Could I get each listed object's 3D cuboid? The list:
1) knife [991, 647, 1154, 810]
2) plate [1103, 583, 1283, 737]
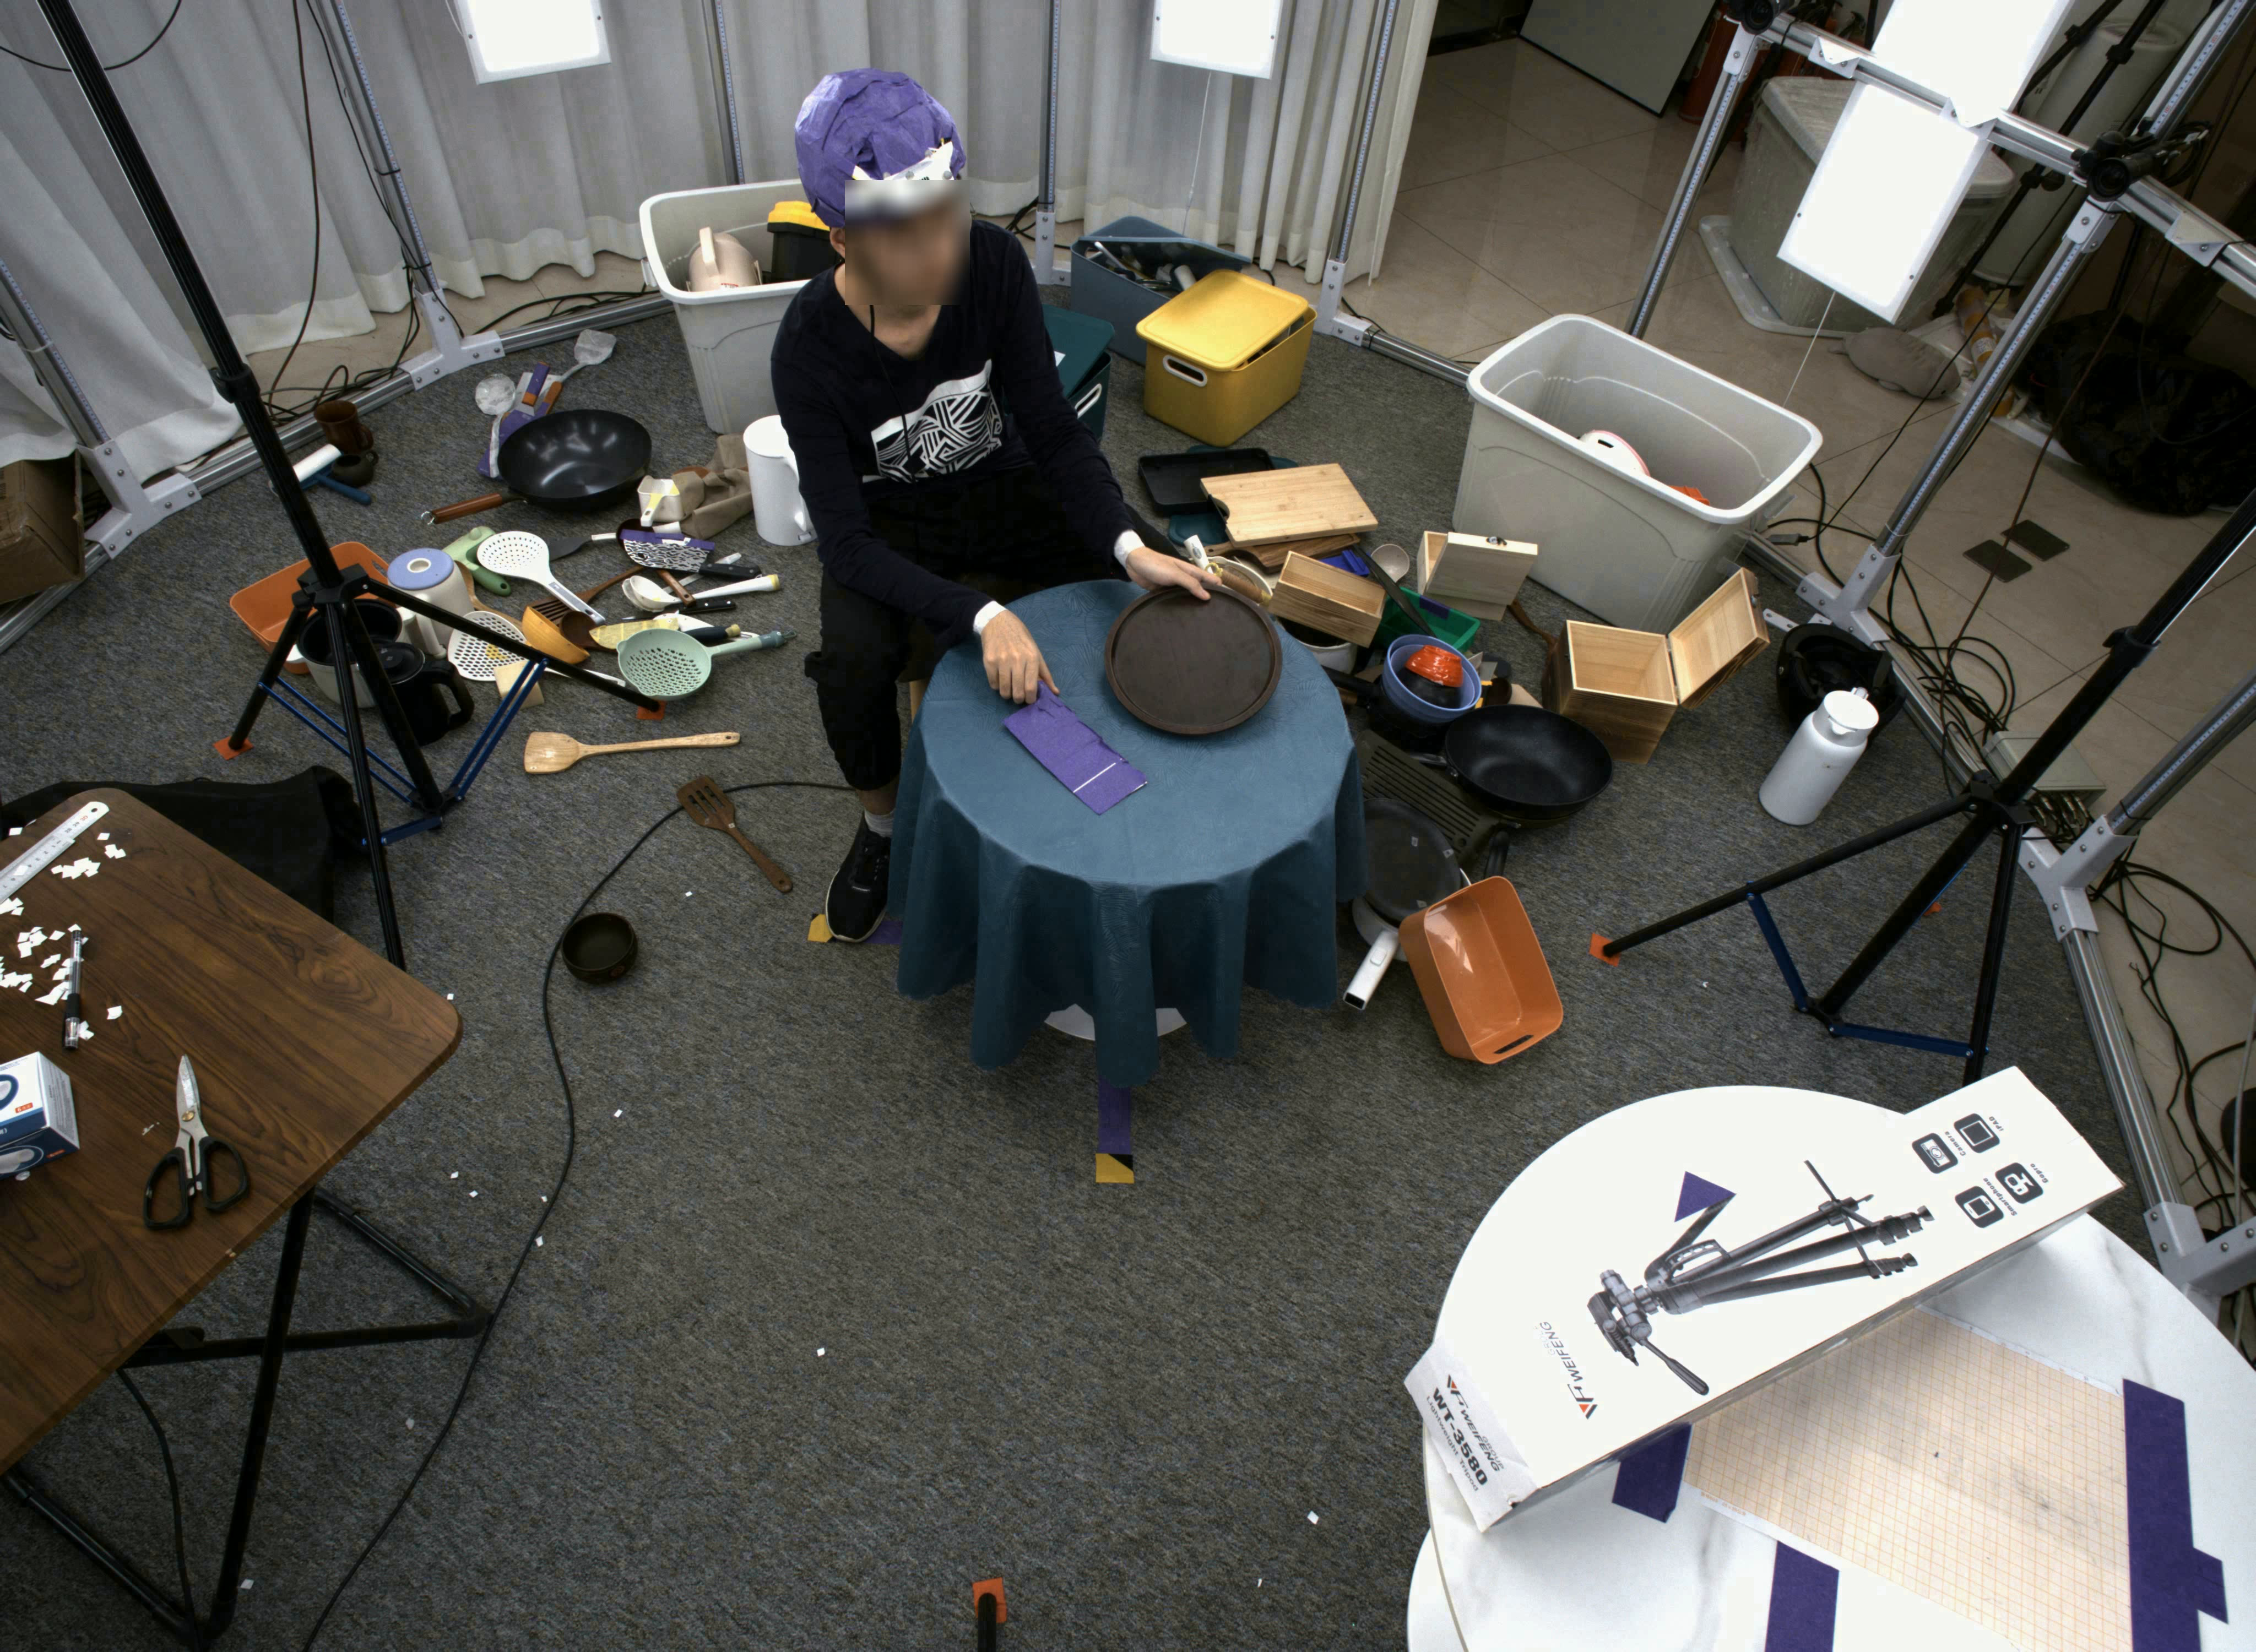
[{"bbox_3d":[-0.105,-0.137,1.762,0.104,0.031,0.320,-32,59,-27],"label":"knife"},{"bbox_3d":[0.092,-0.237,1.826,0.254,0.028,0.260,0,64,0],"label":"plate"}]
